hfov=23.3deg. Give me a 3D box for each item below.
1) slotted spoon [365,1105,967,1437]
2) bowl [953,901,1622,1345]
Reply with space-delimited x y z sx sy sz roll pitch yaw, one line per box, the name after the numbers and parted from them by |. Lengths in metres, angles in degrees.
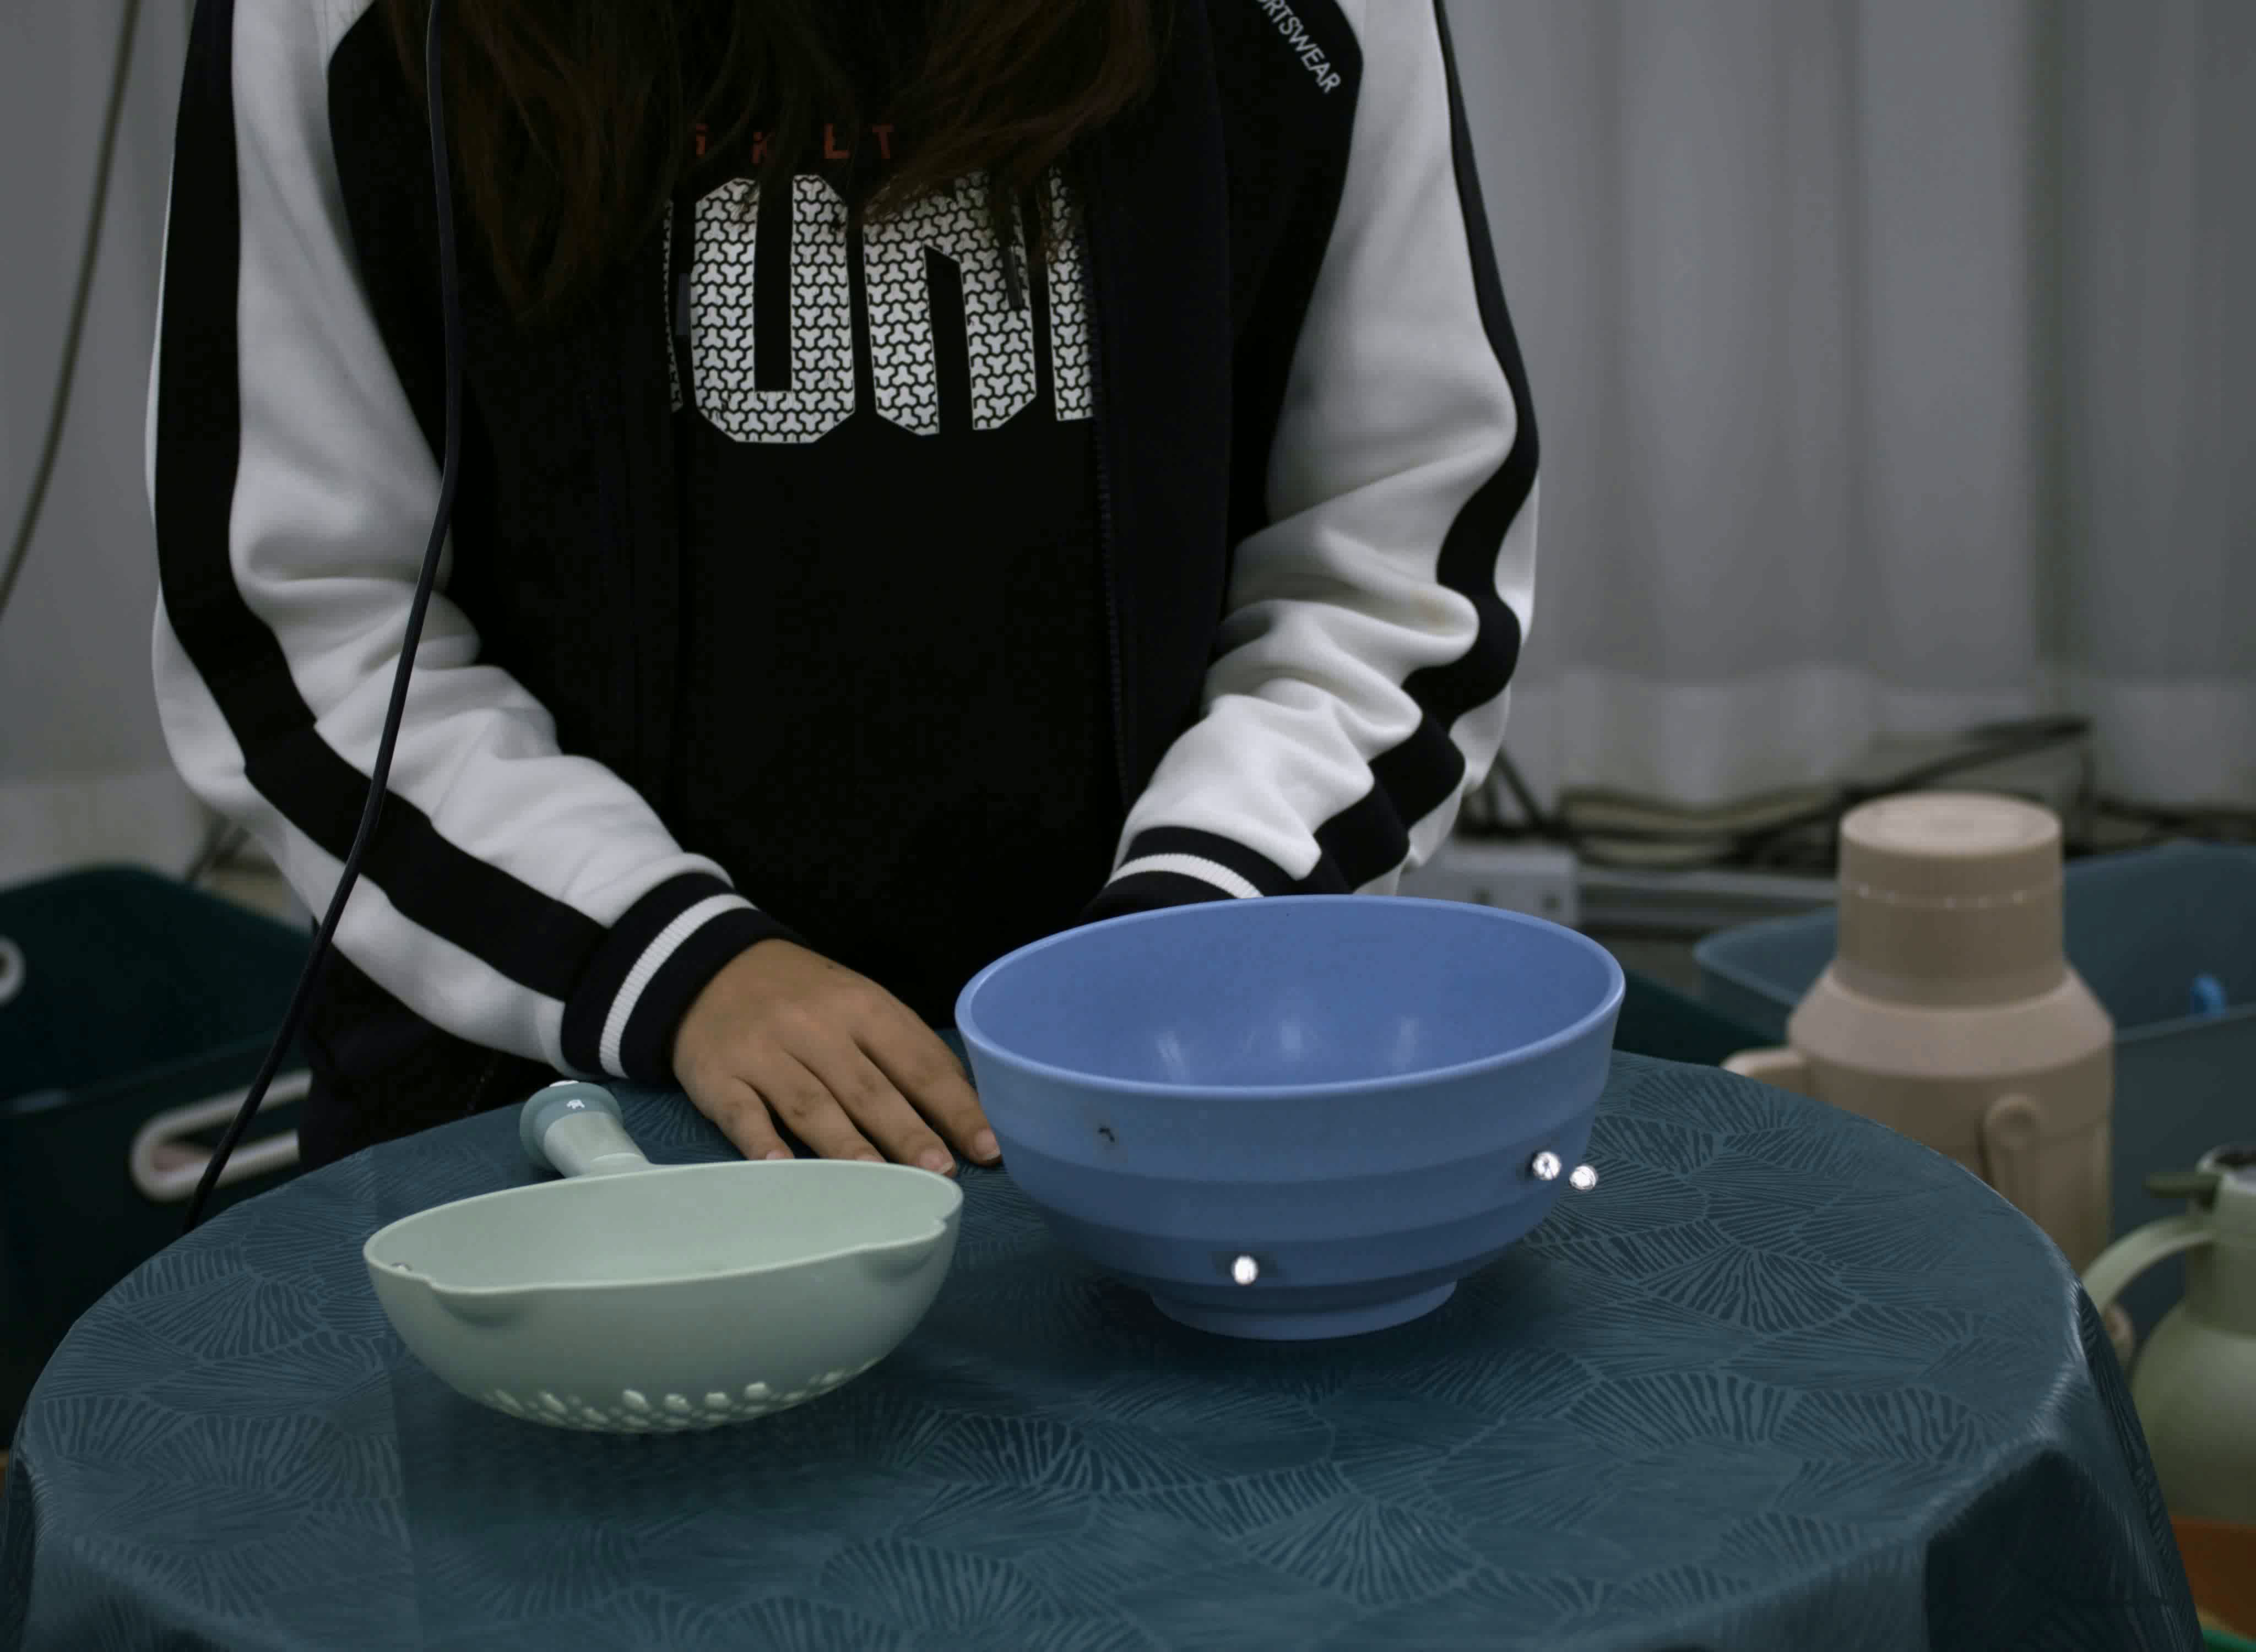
-0.148 0.116 1.628 0.168 0.075 0.361 -5 13 -12 | slotted spoon
0.049 0.093 1.608 0.196 0.095 0.198 -4 14 1 | bowl
